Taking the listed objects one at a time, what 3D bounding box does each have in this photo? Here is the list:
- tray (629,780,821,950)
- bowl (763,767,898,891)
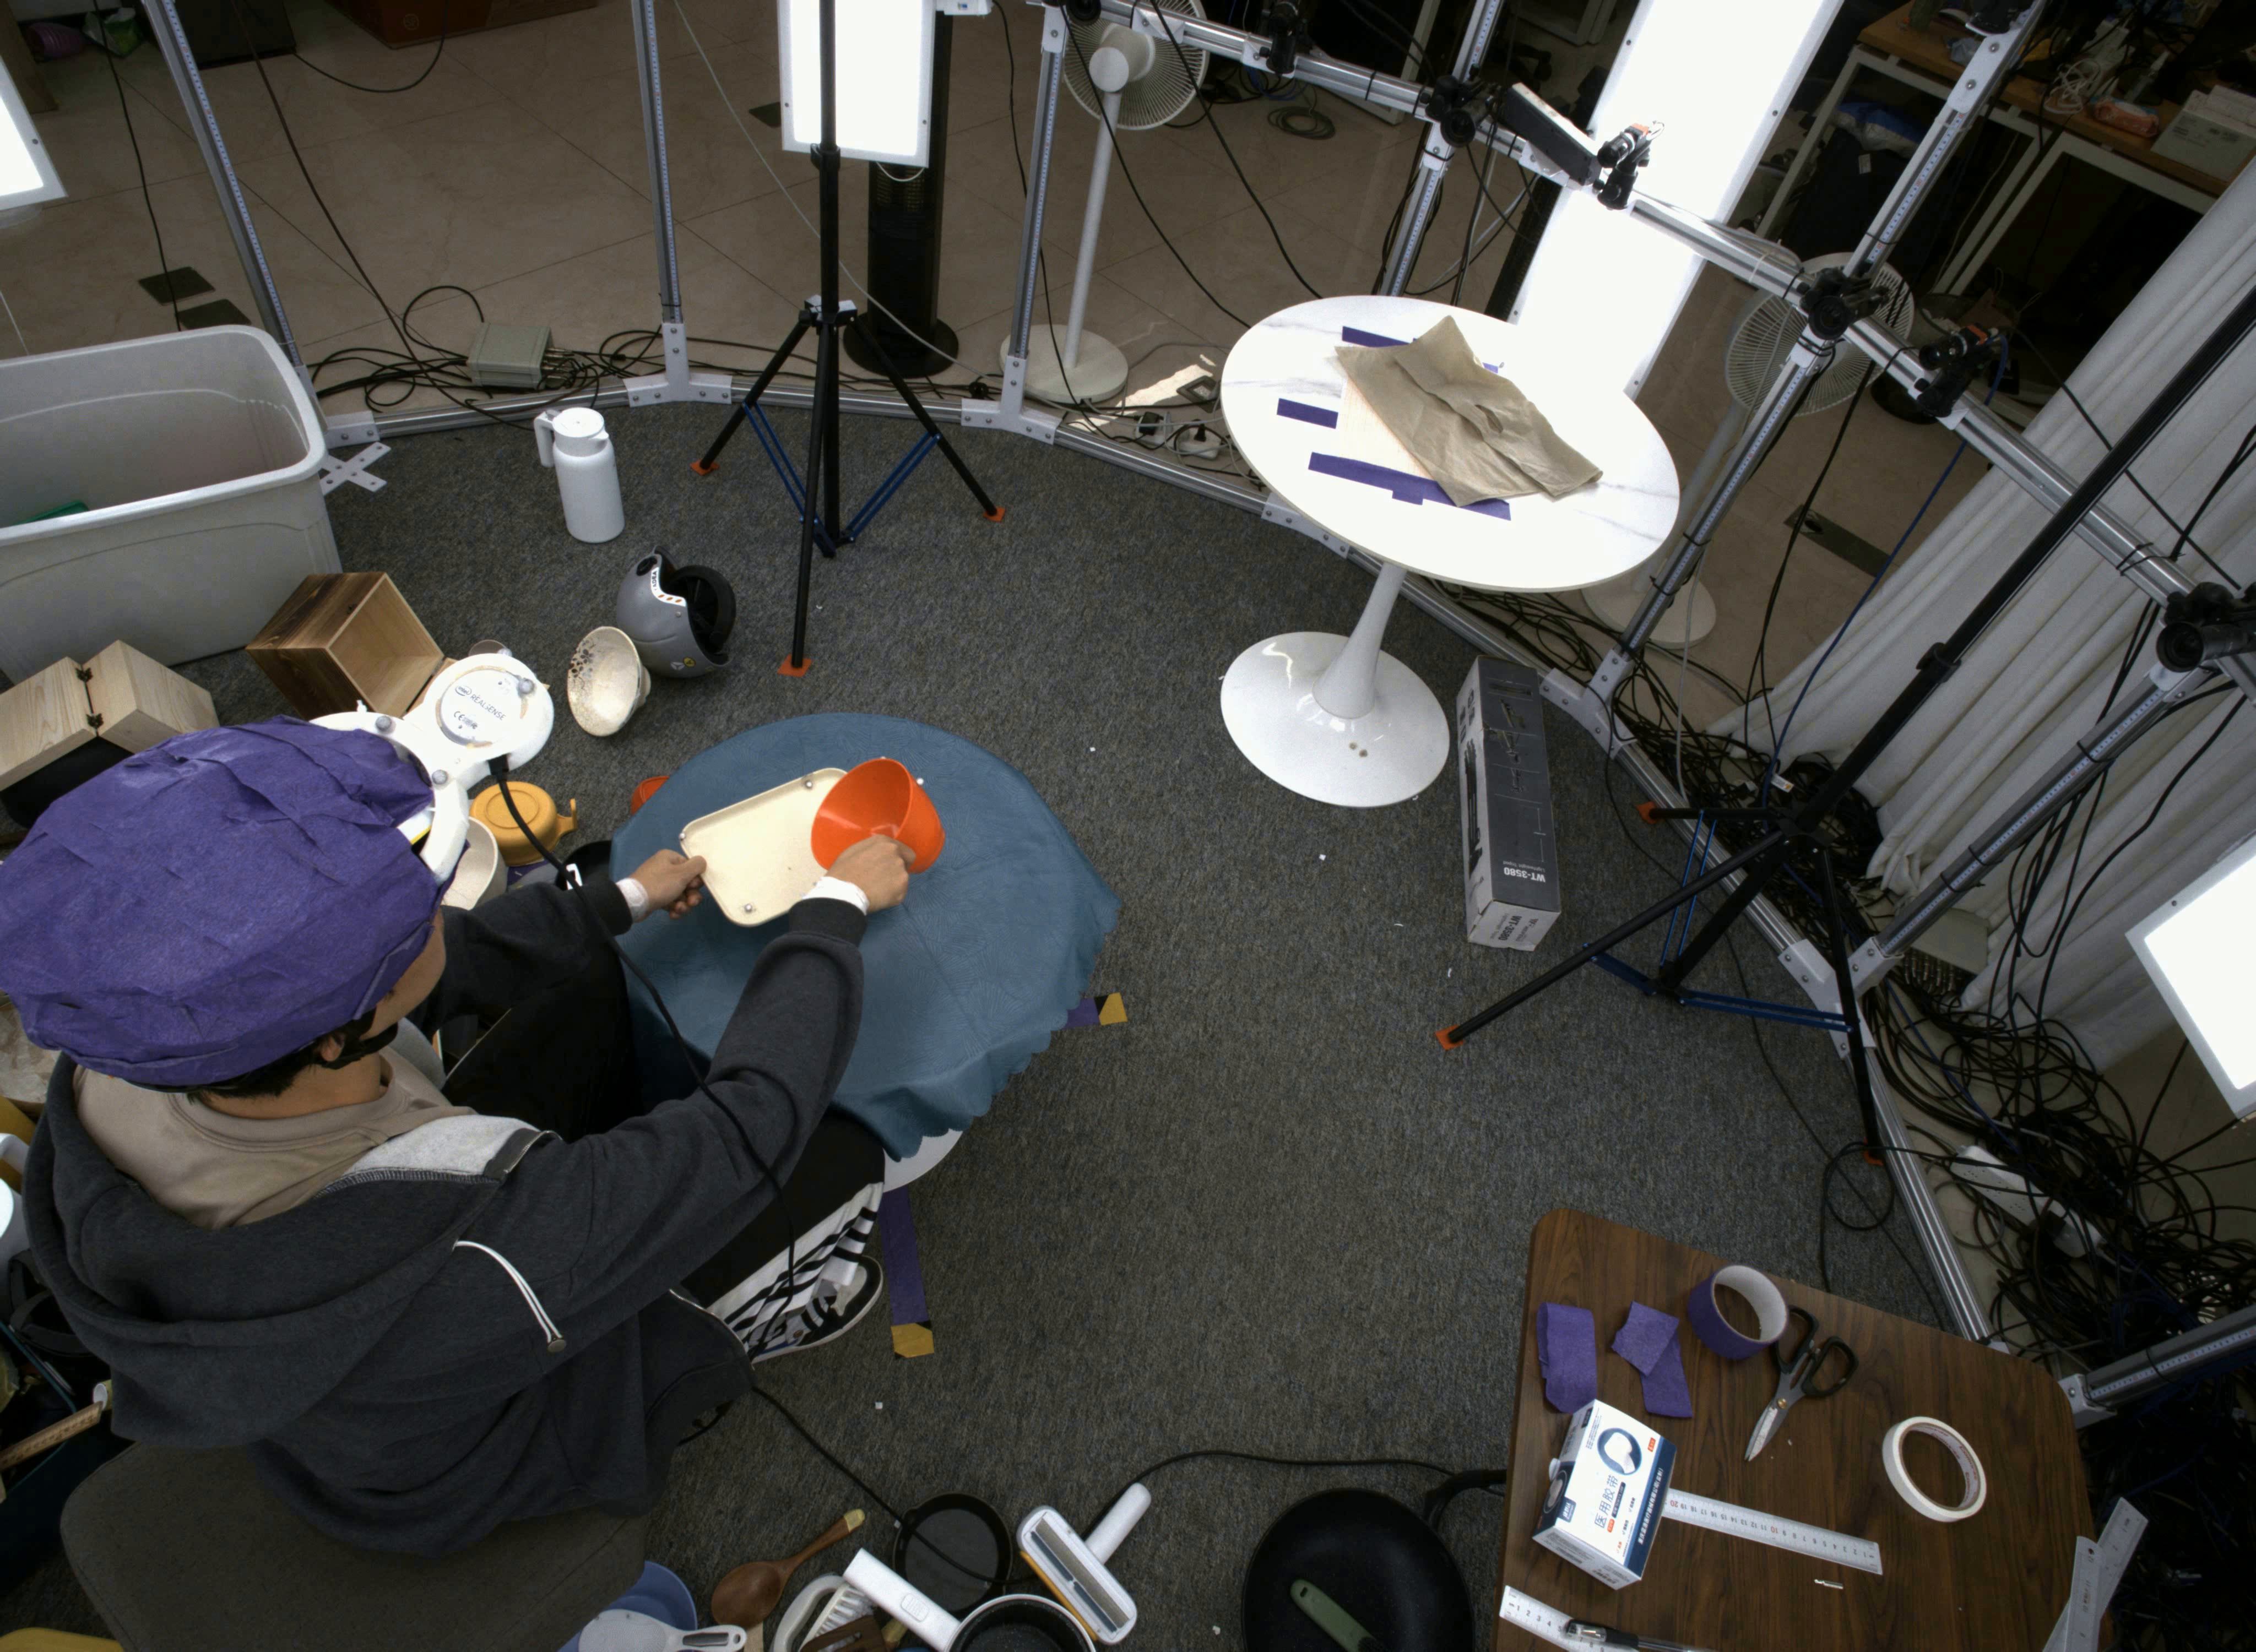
[{"bbox_3d":[-0.475,0.044,1.589,0.241,0.018,0.168,-30,70,-33],"label":"tray"},{"bbox_3d":[-0.330,0.017,1.482,0.108,0.146,0.145,34,38,-40],"label":"bowl"}]
